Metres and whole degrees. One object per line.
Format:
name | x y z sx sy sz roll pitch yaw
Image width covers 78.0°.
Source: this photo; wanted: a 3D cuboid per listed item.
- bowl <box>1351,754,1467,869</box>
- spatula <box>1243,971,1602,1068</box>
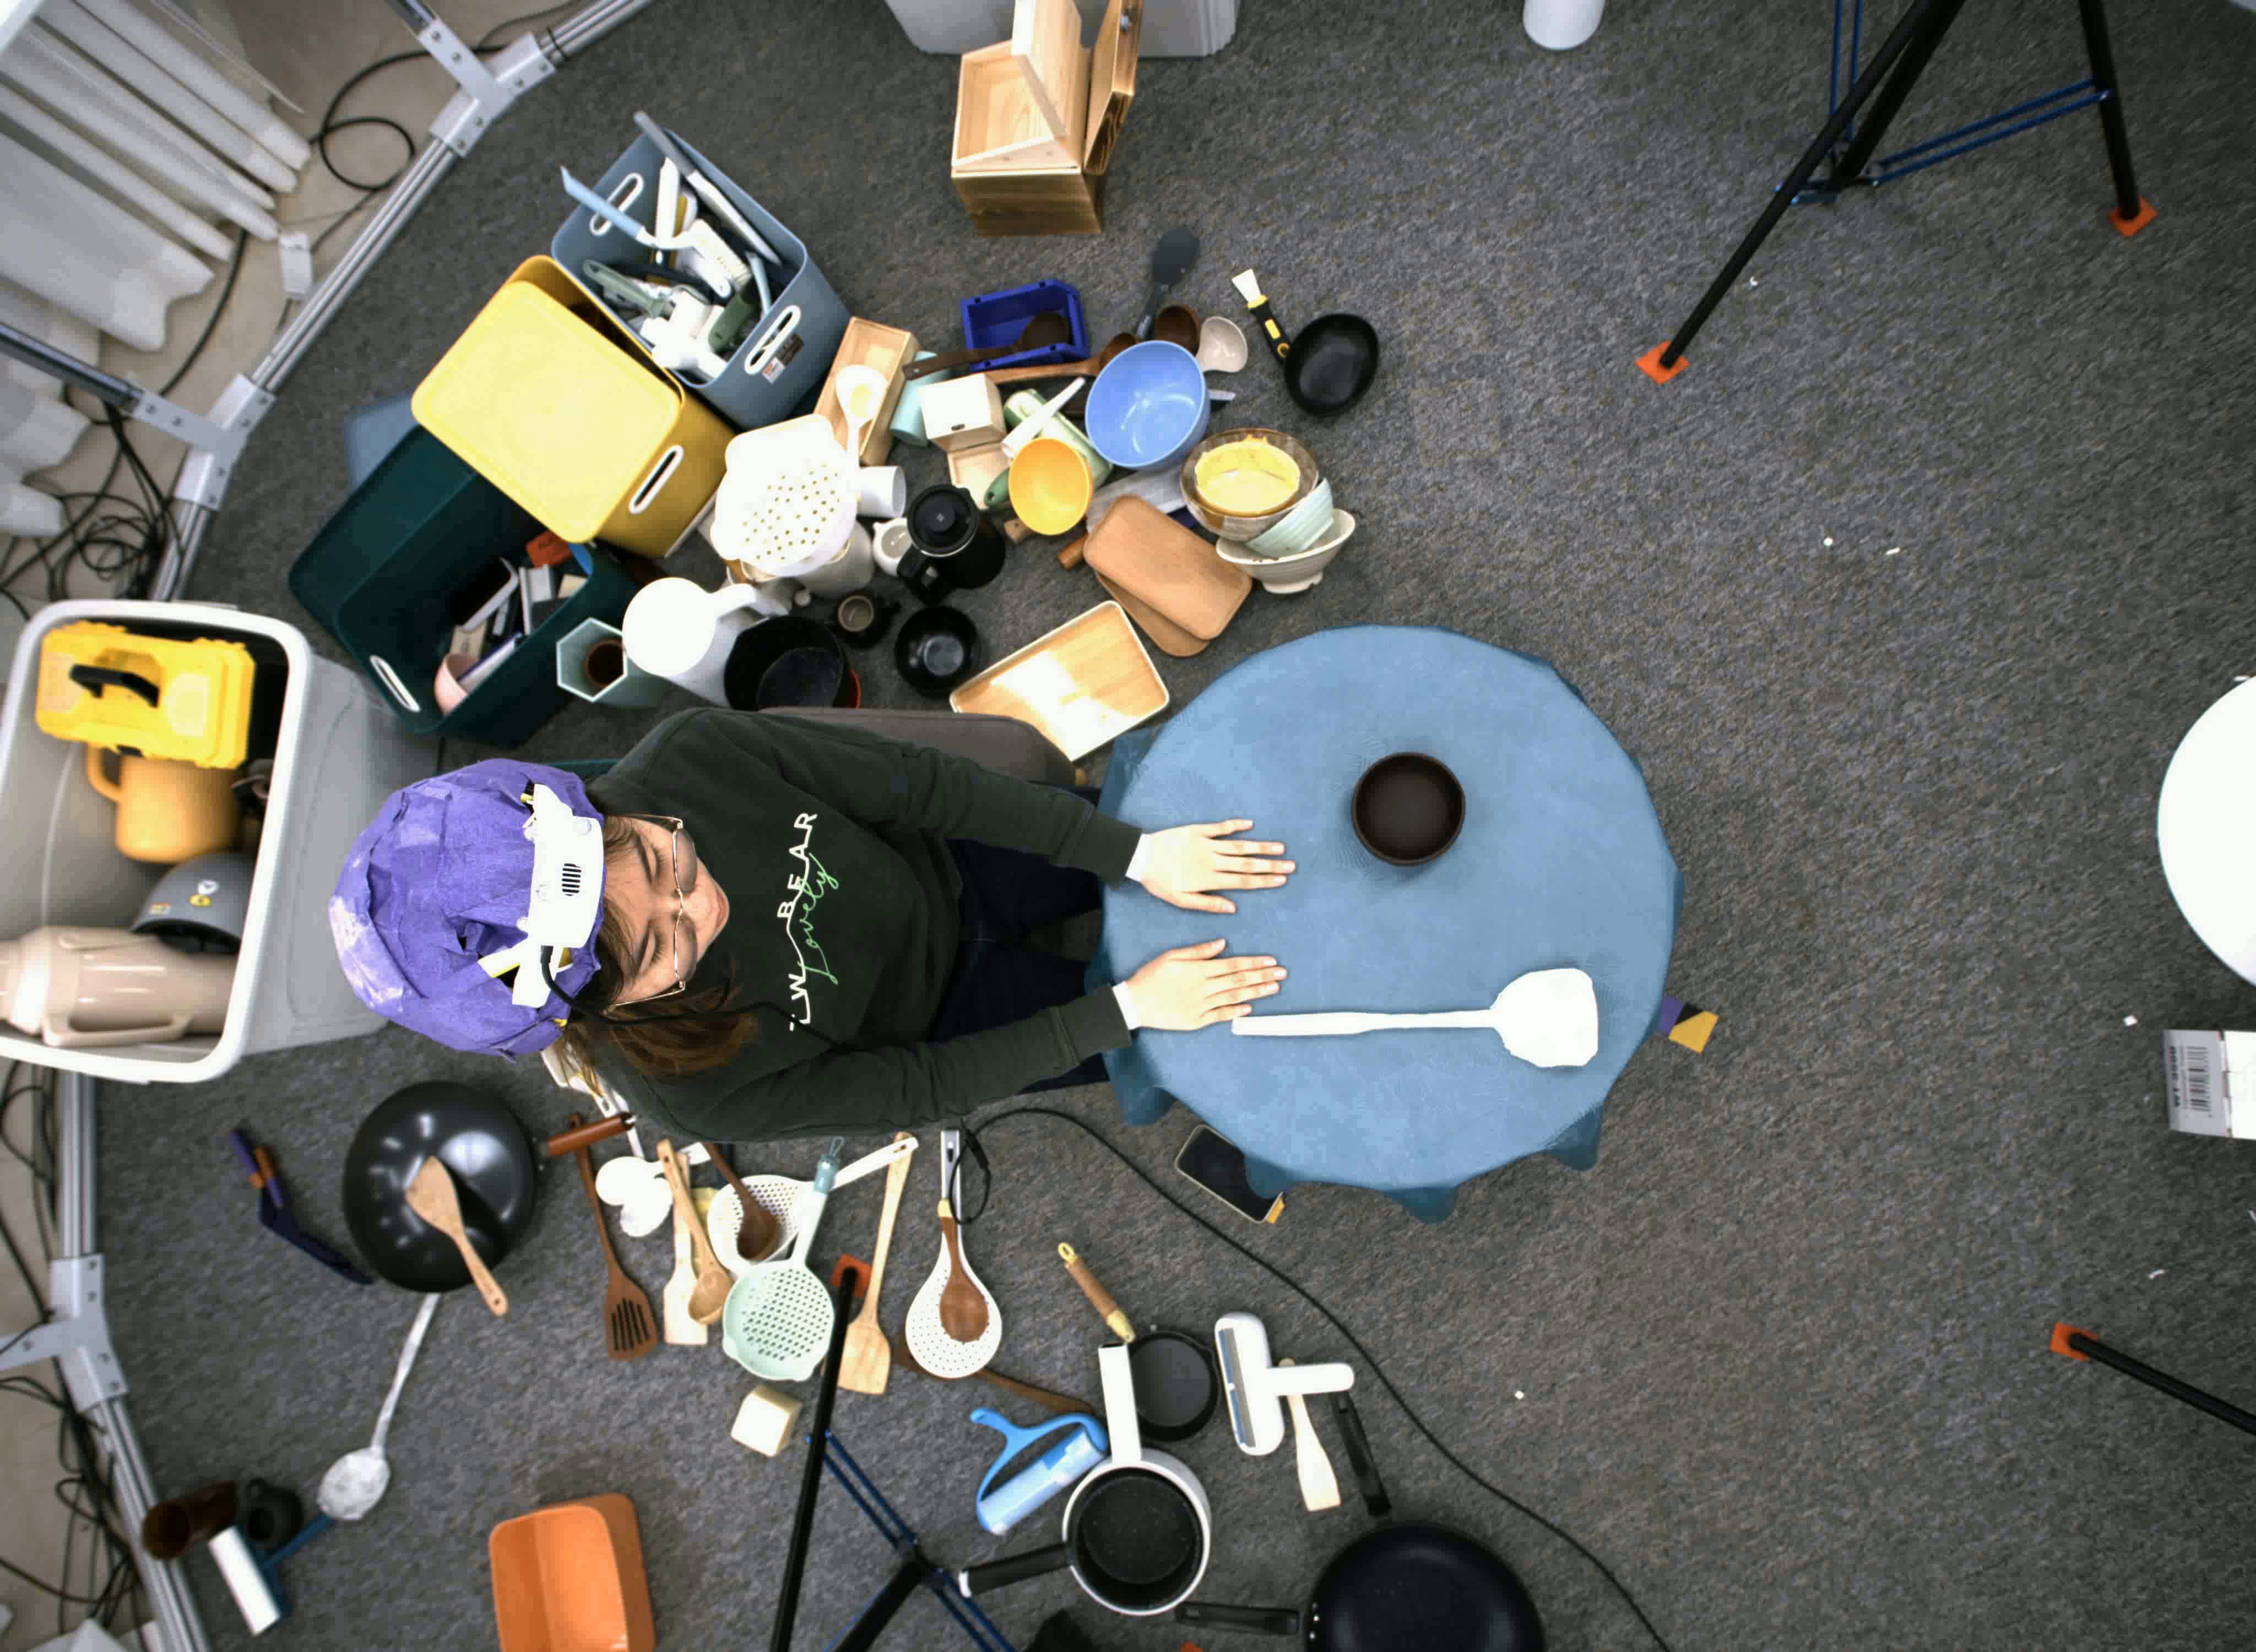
bowl | 0.291 -0.014 1.430 0.118 0.070 0.117 -1 84 11
spatula | 0.300 0.199 1.431 0.366 0.045 0.098 -2 87 10
